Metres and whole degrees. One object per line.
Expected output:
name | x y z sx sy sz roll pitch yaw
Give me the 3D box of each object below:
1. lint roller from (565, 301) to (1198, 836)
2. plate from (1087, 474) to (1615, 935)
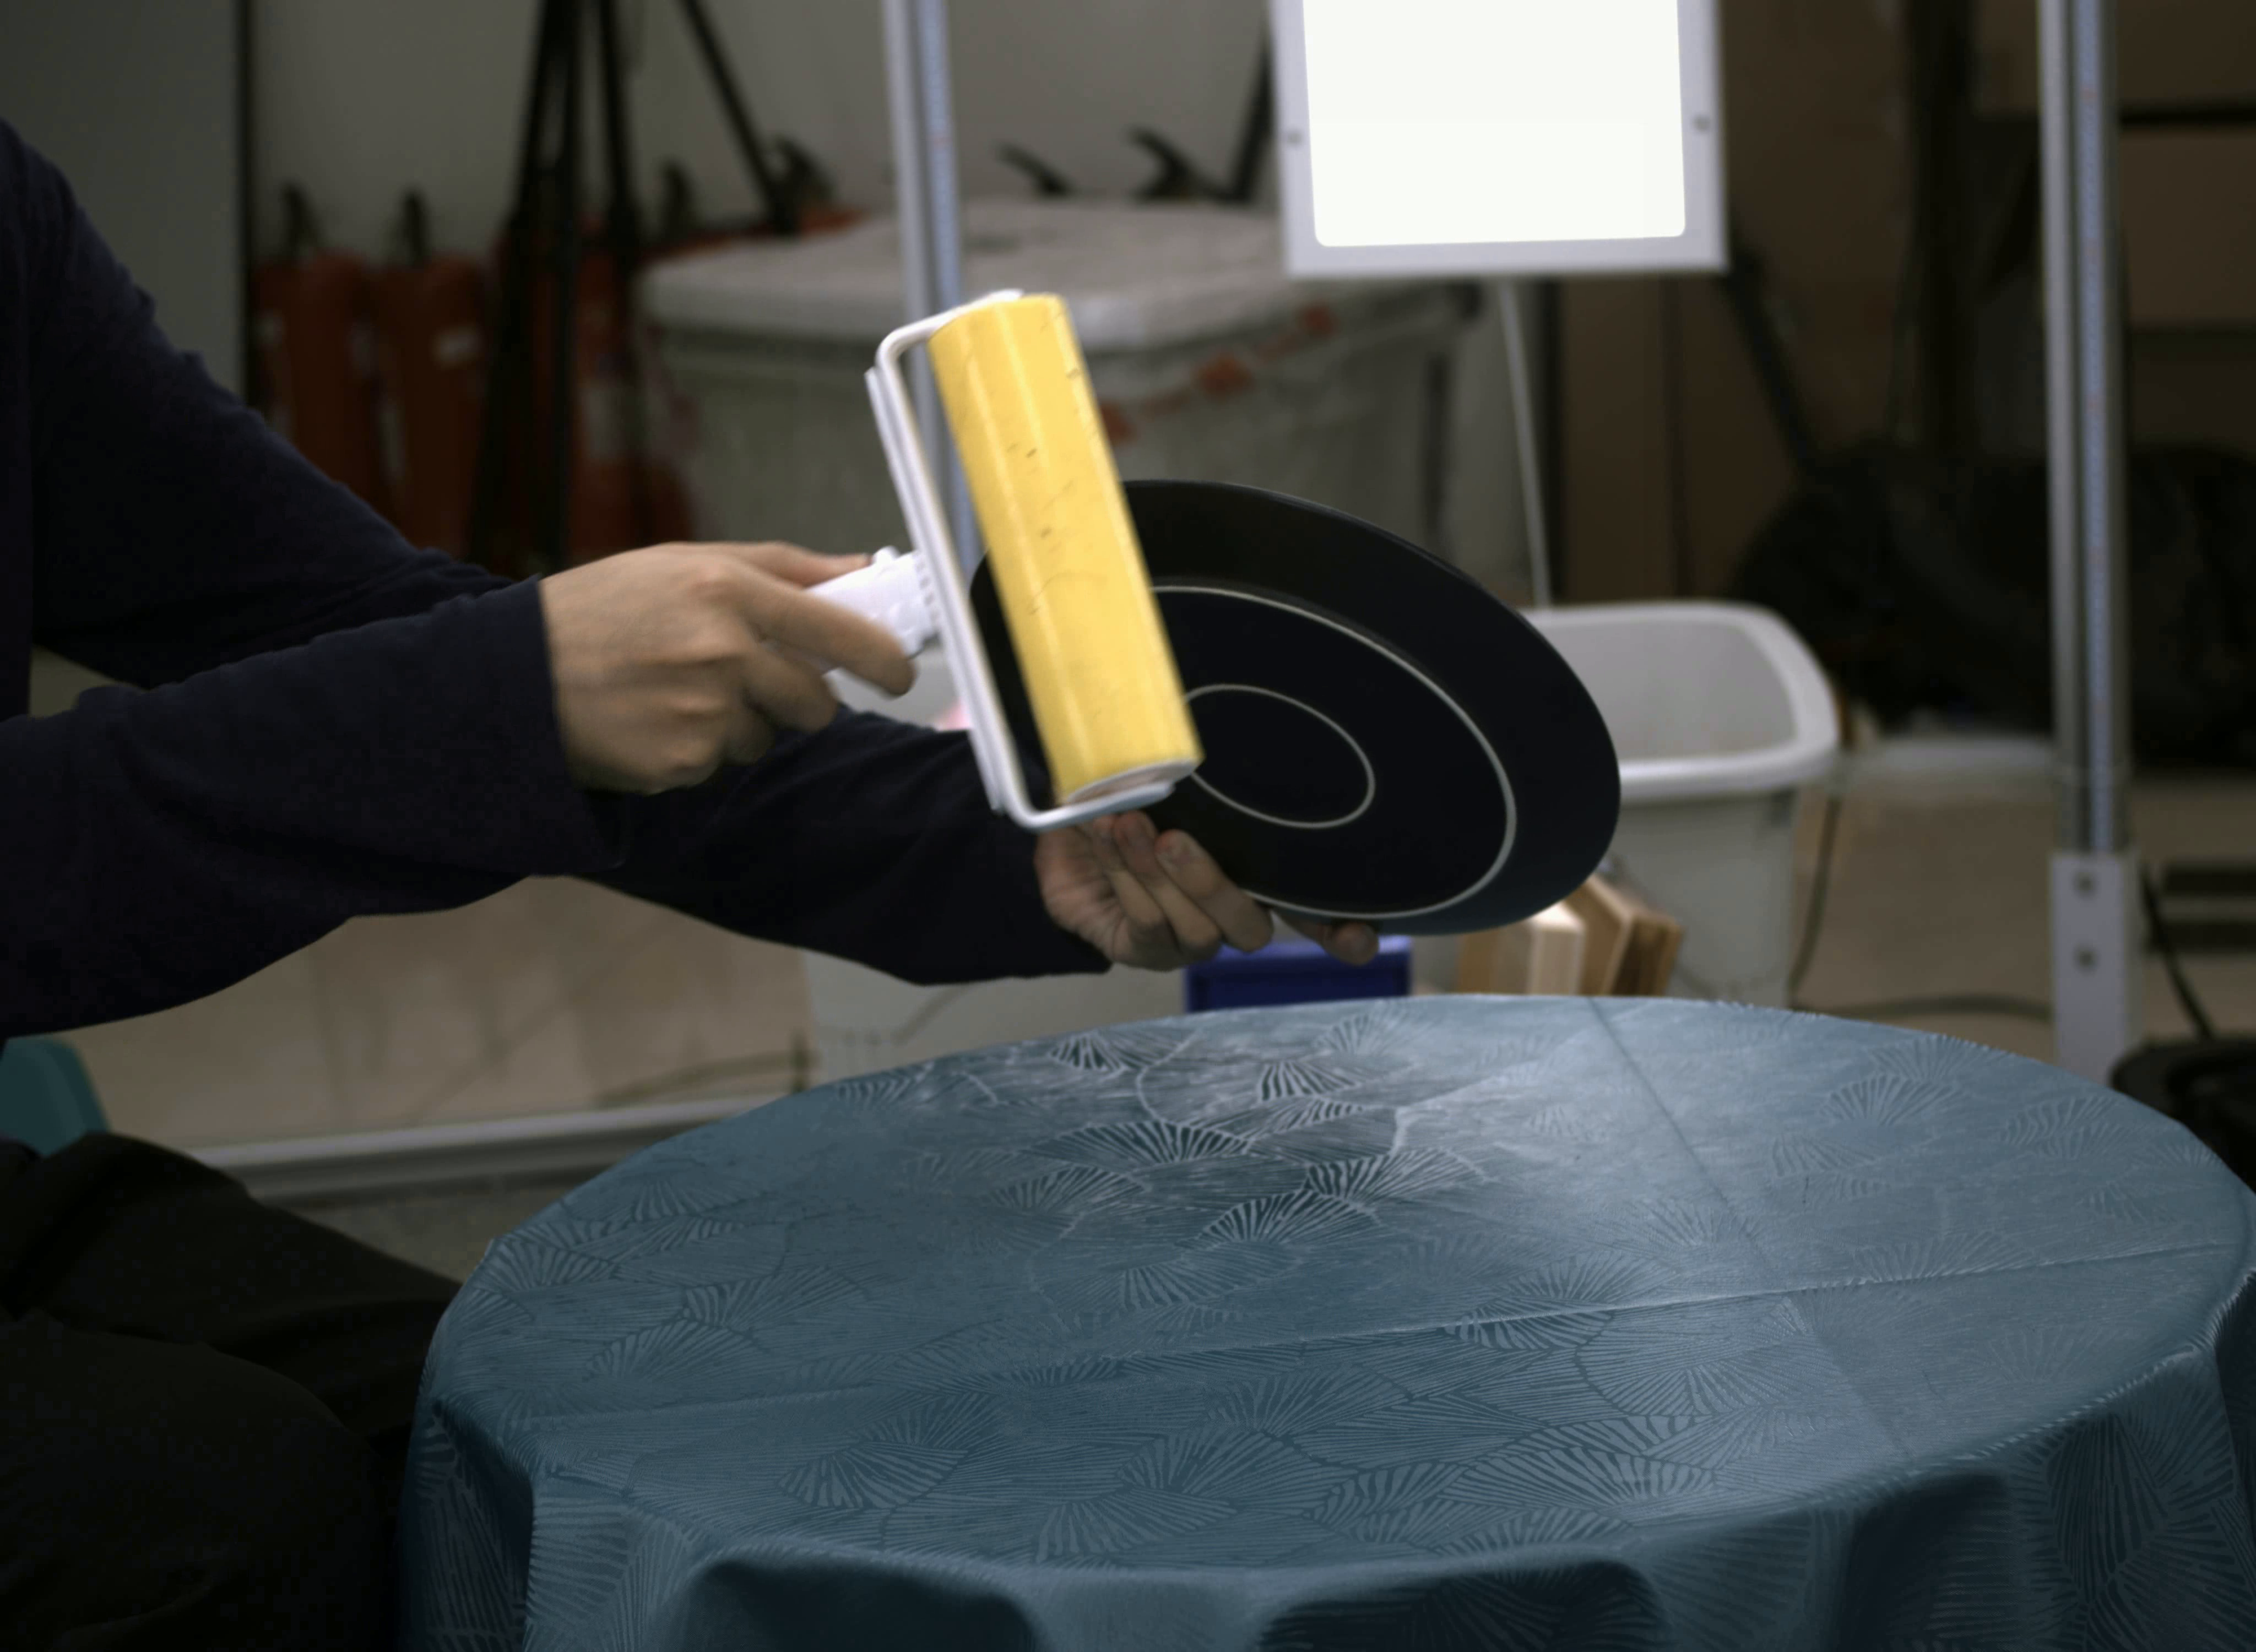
lint roller | -0.092 -0.064 1.786 0.191 0.175 0.051 -18 -12 -1
plate | 0.052 -0.033 1.925 0.249 0.242 0.023 4 52 31
